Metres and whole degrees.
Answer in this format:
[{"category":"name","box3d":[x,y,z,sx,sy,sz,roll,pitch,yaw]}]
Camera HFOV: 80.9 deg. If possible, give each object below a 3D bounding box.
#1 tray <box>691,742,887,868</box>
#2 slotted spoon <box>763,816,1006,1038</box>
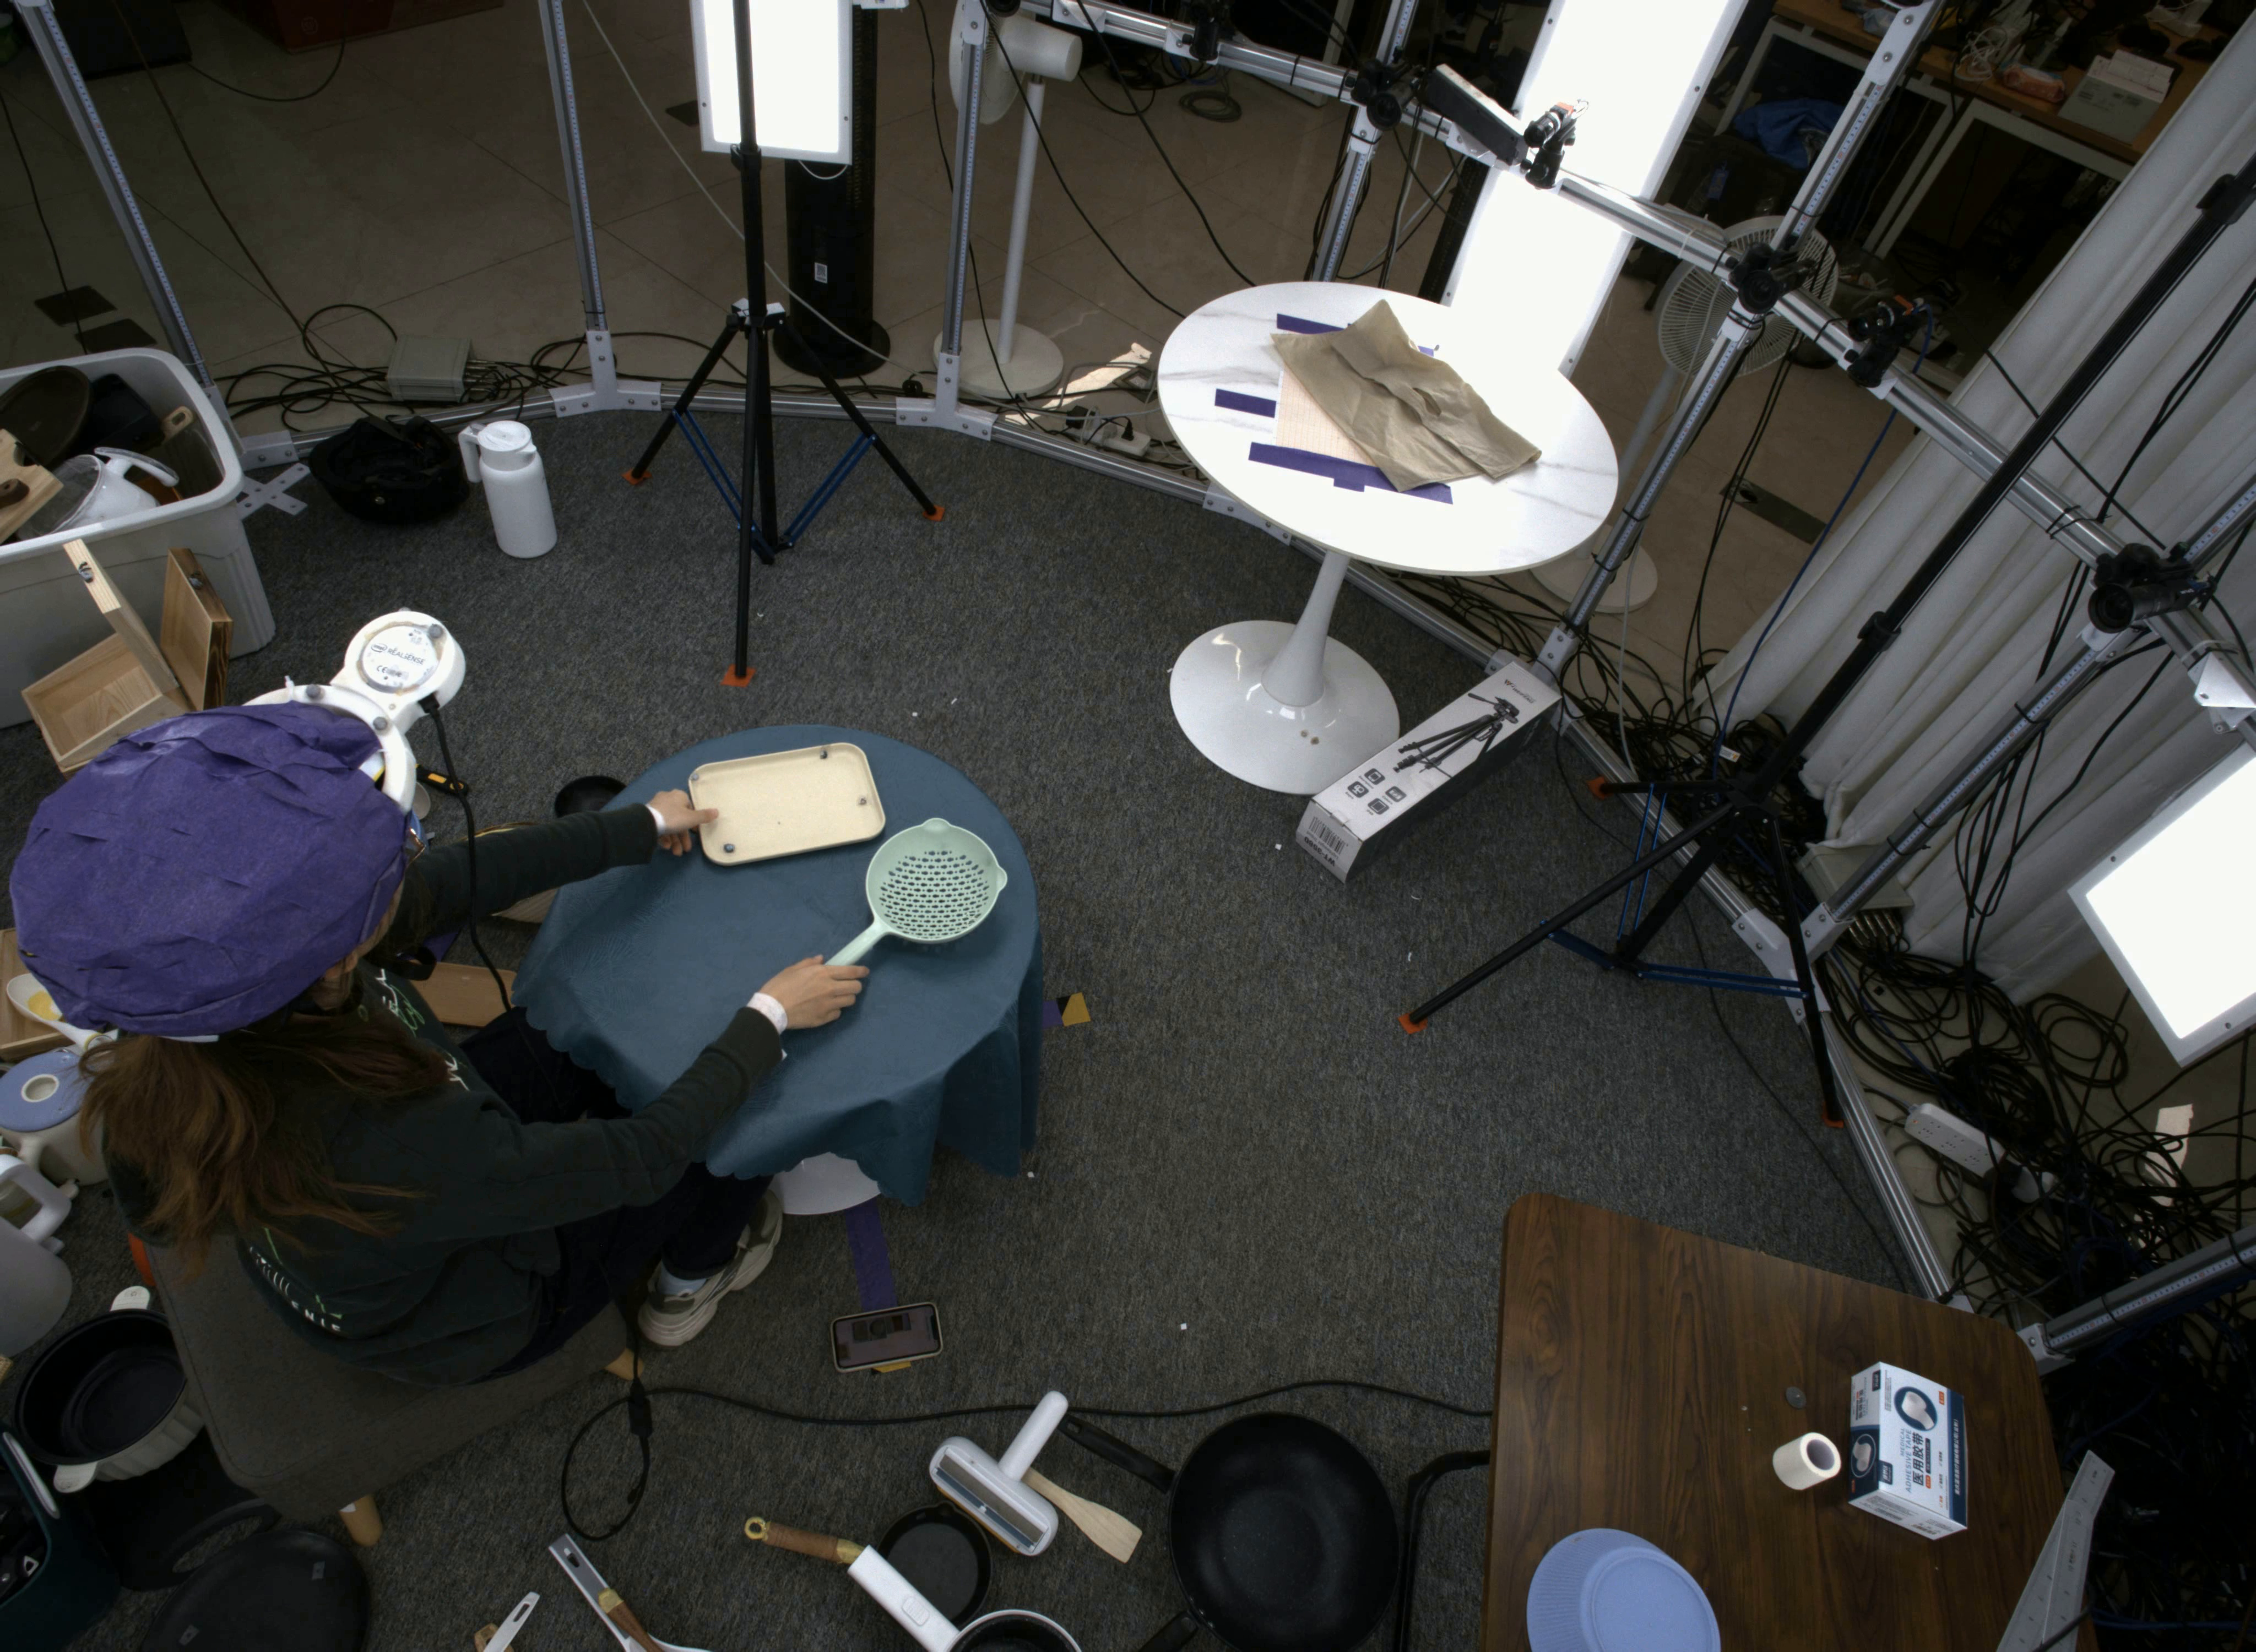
[{"category":"tray","box3d":[-0.453,-0.030,1.734,0.240,0.018,0.167,-12,57,-21]},{"category":"slotted spoon","box3d":[-0.312,0.132,1.619,0.165,0.077,0.359,39,55,17]}]
